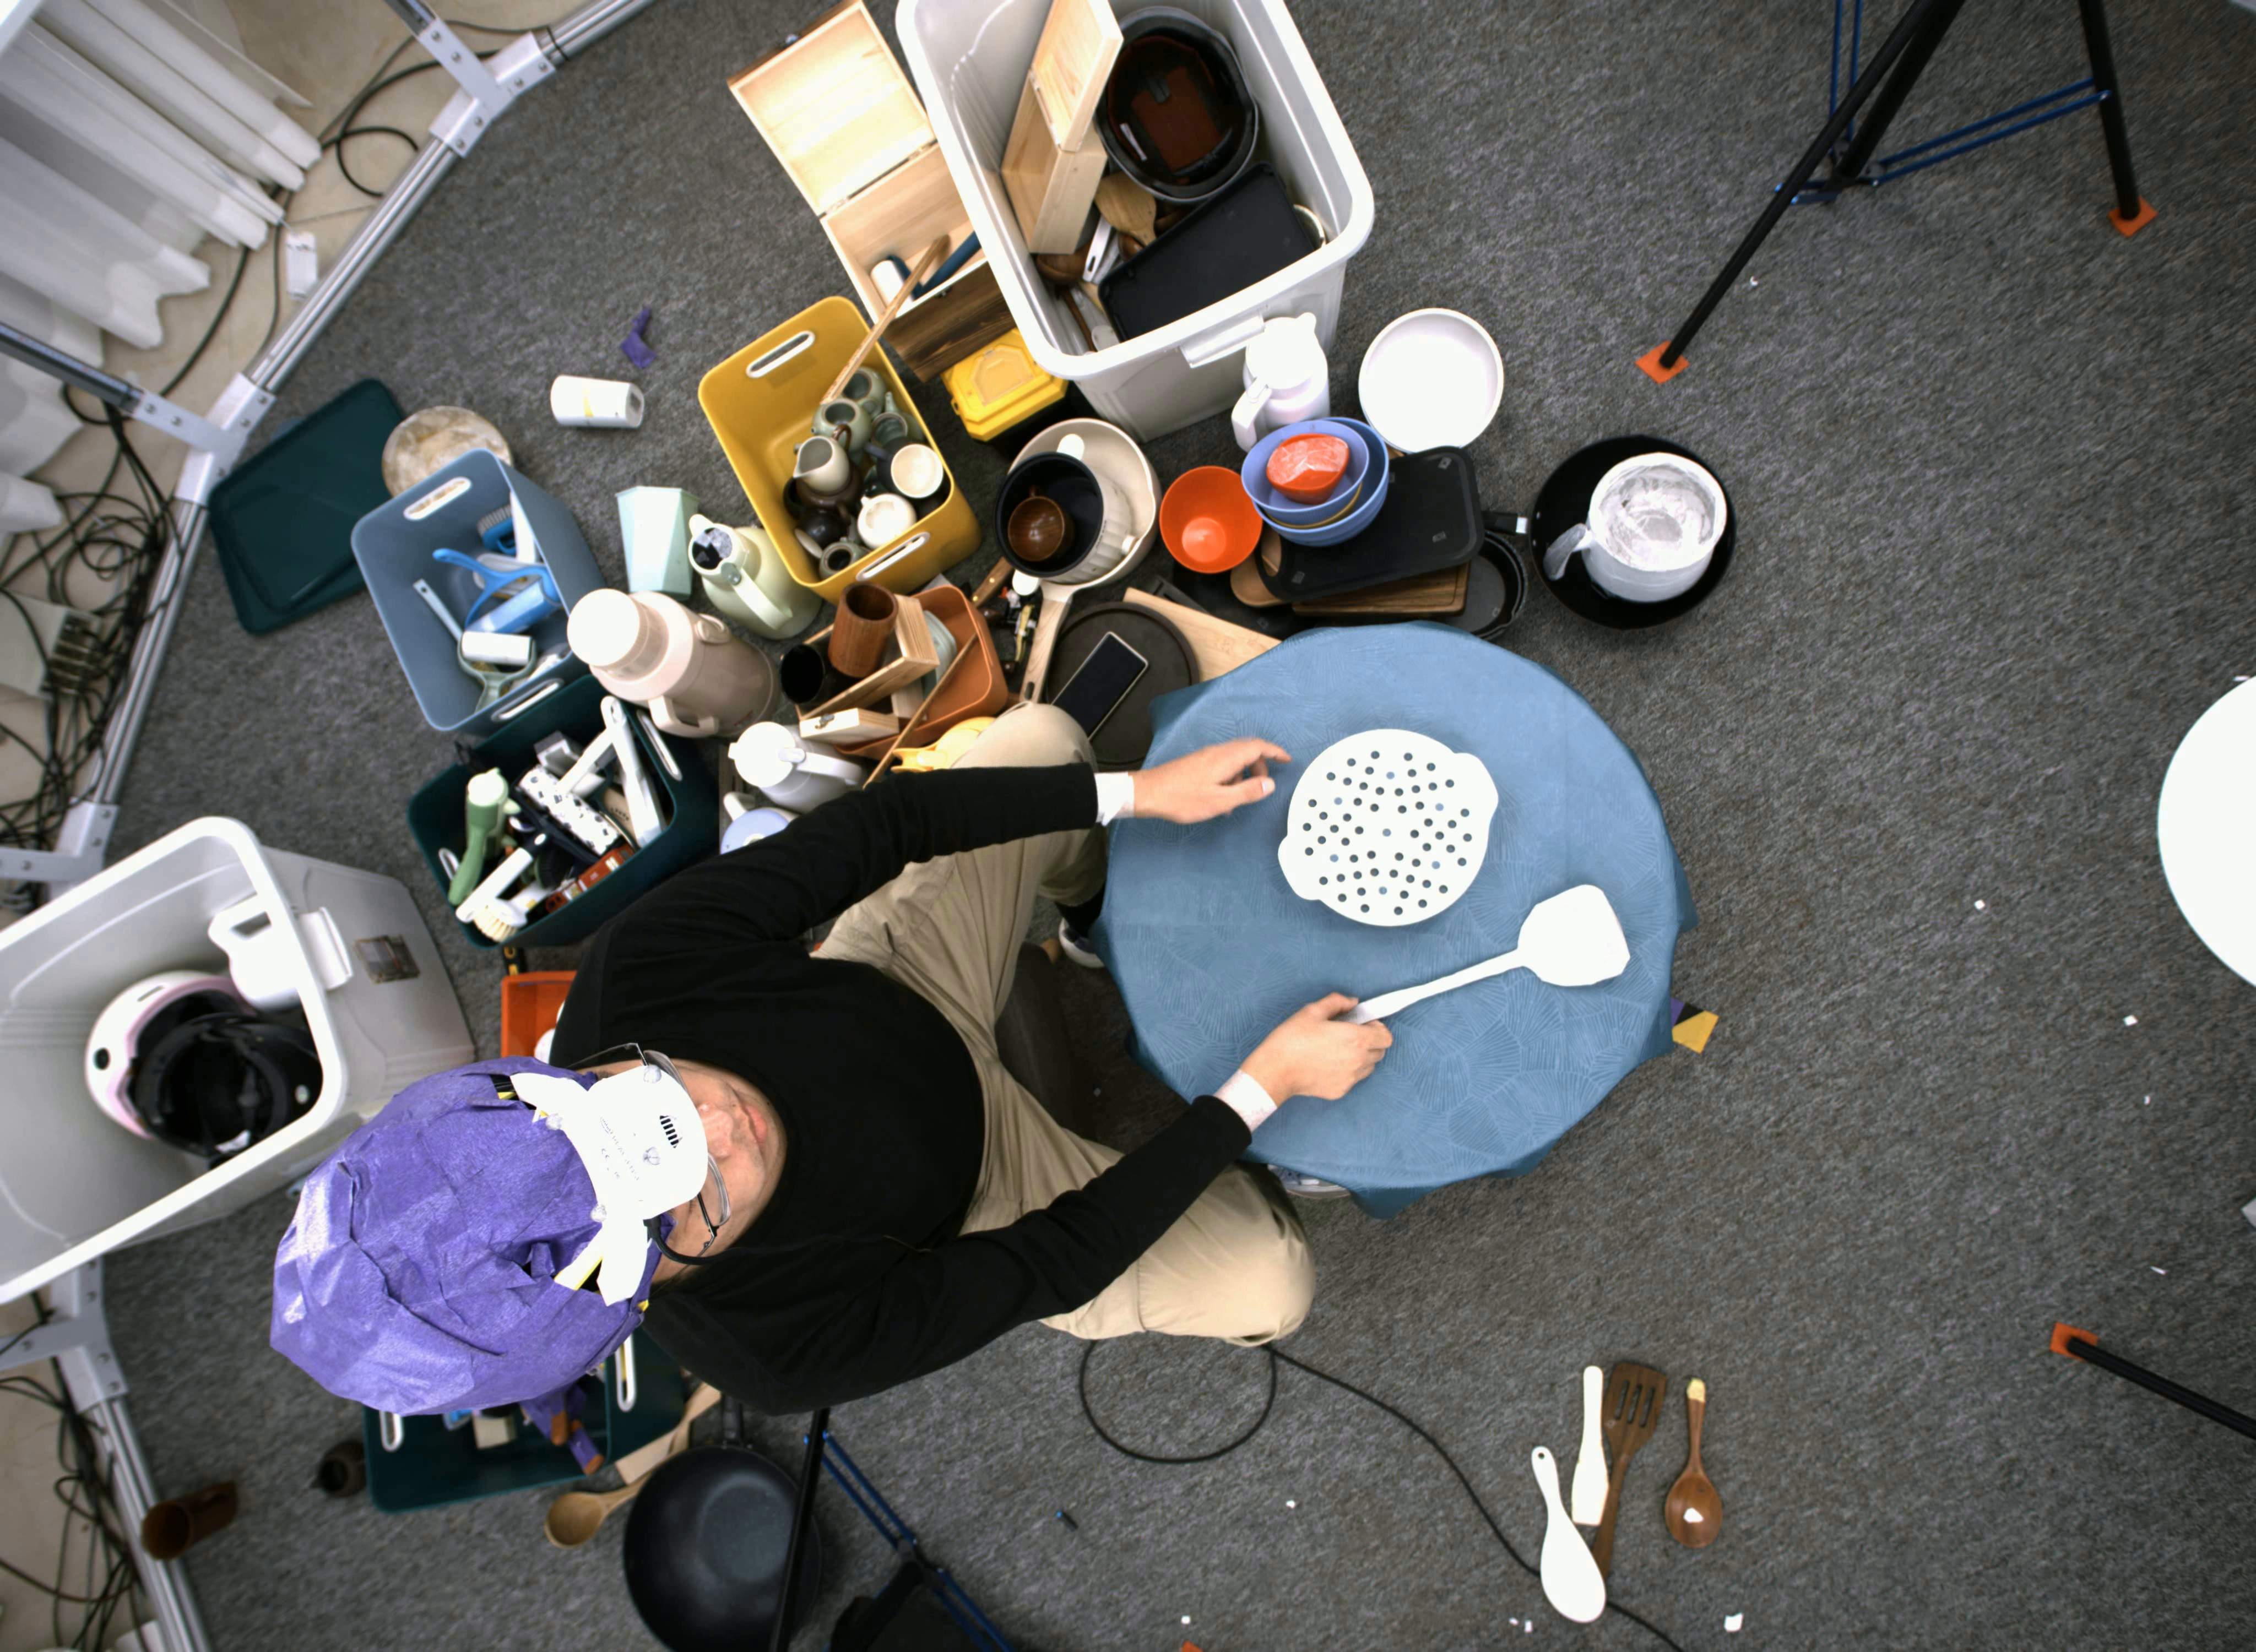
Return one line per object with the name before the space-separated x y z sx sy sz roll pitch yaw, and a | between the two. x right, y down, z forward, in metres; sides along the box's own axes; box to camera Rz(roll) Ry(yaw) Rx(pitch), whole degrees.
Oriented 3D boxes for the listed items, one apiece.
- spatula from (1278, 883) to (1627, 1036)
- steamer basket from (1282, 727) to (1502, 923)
spatula | 0.329 0.157 1.425 0.367 0.045 0.098 -20 85 9
steamer basket | 0.273 0.000 1.428 0.232 0.069 0.200 -26 81 9
